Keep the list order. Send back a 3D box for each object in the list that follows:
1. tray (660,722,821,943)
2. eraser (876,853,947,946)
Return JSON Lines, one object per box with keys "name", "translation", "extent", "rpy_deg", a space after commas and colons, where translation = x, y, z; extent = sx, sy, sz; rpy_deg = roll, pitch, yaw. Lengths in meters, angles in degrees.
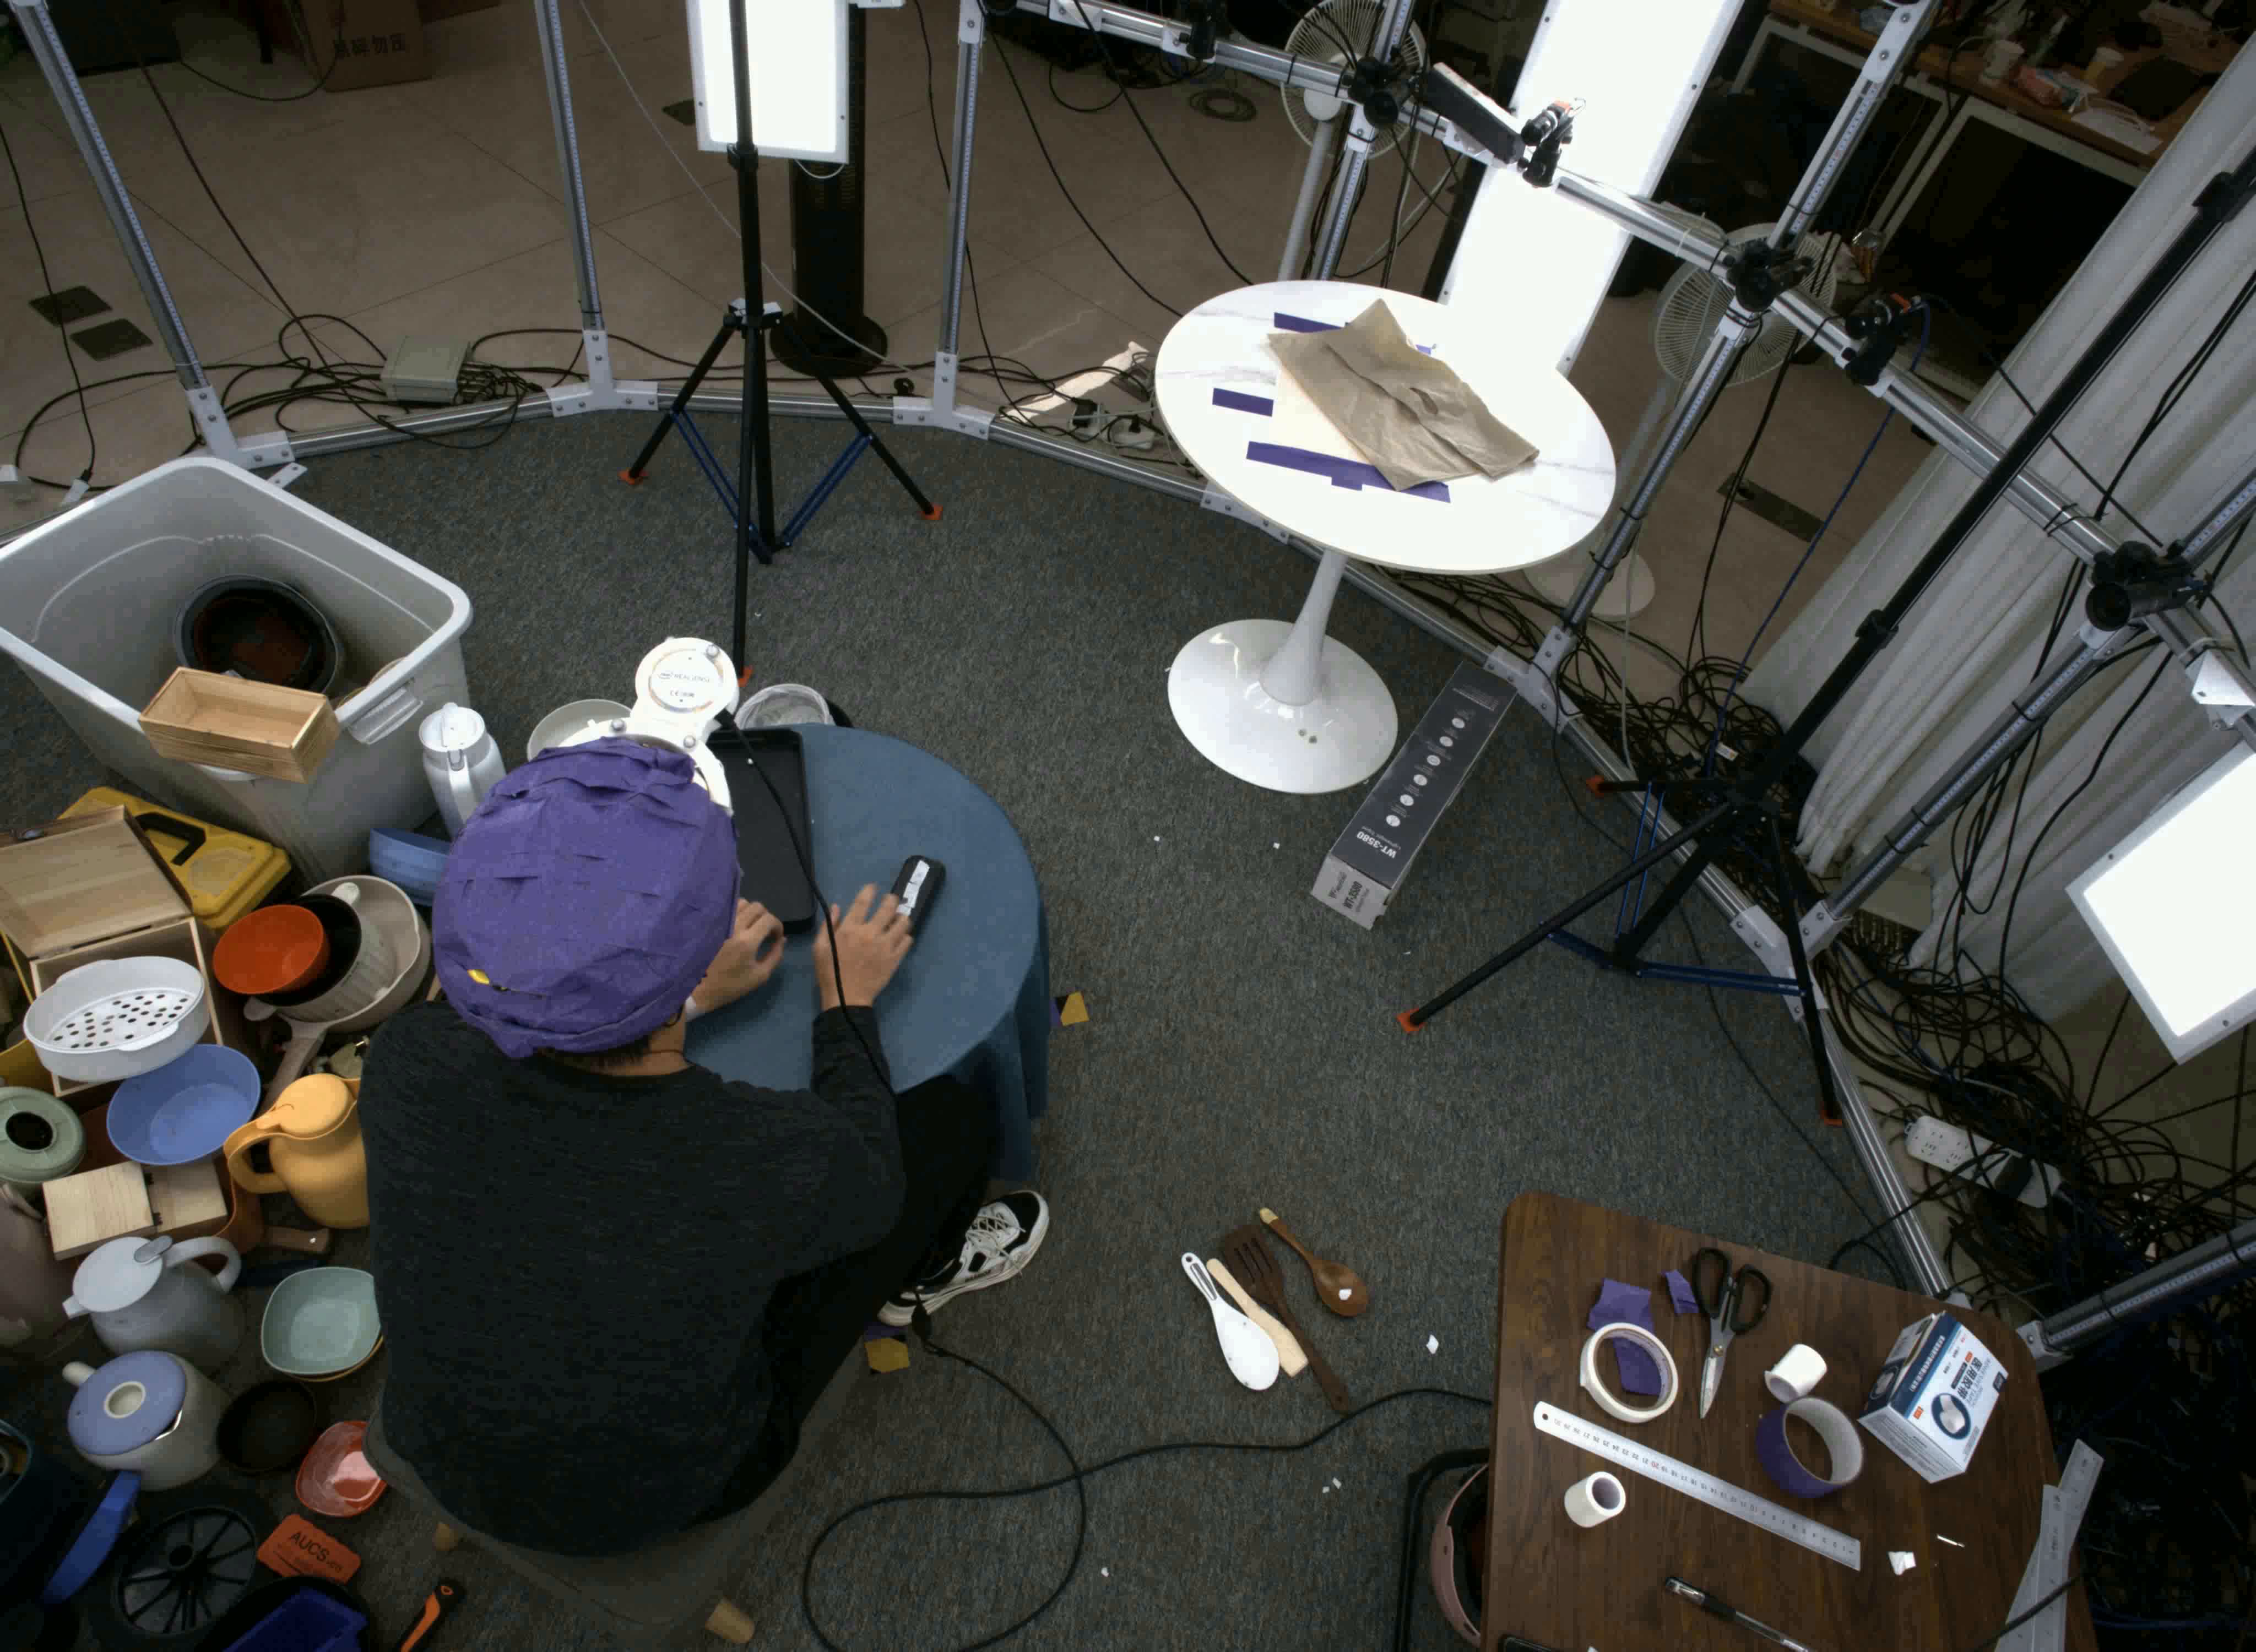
{"name": "tray", "translation": [-0.506, 0.001, 1.675], "extent": [0.185, 0.038, 0.311], "rpy_deg": [-5, 56, -18]}
{"name": "eraser", "translation": [-0.277, 0.091, 1.671], "extent": [0.053, 0.031, 0.124], "rpy_deg": [16, 53, 2]}
